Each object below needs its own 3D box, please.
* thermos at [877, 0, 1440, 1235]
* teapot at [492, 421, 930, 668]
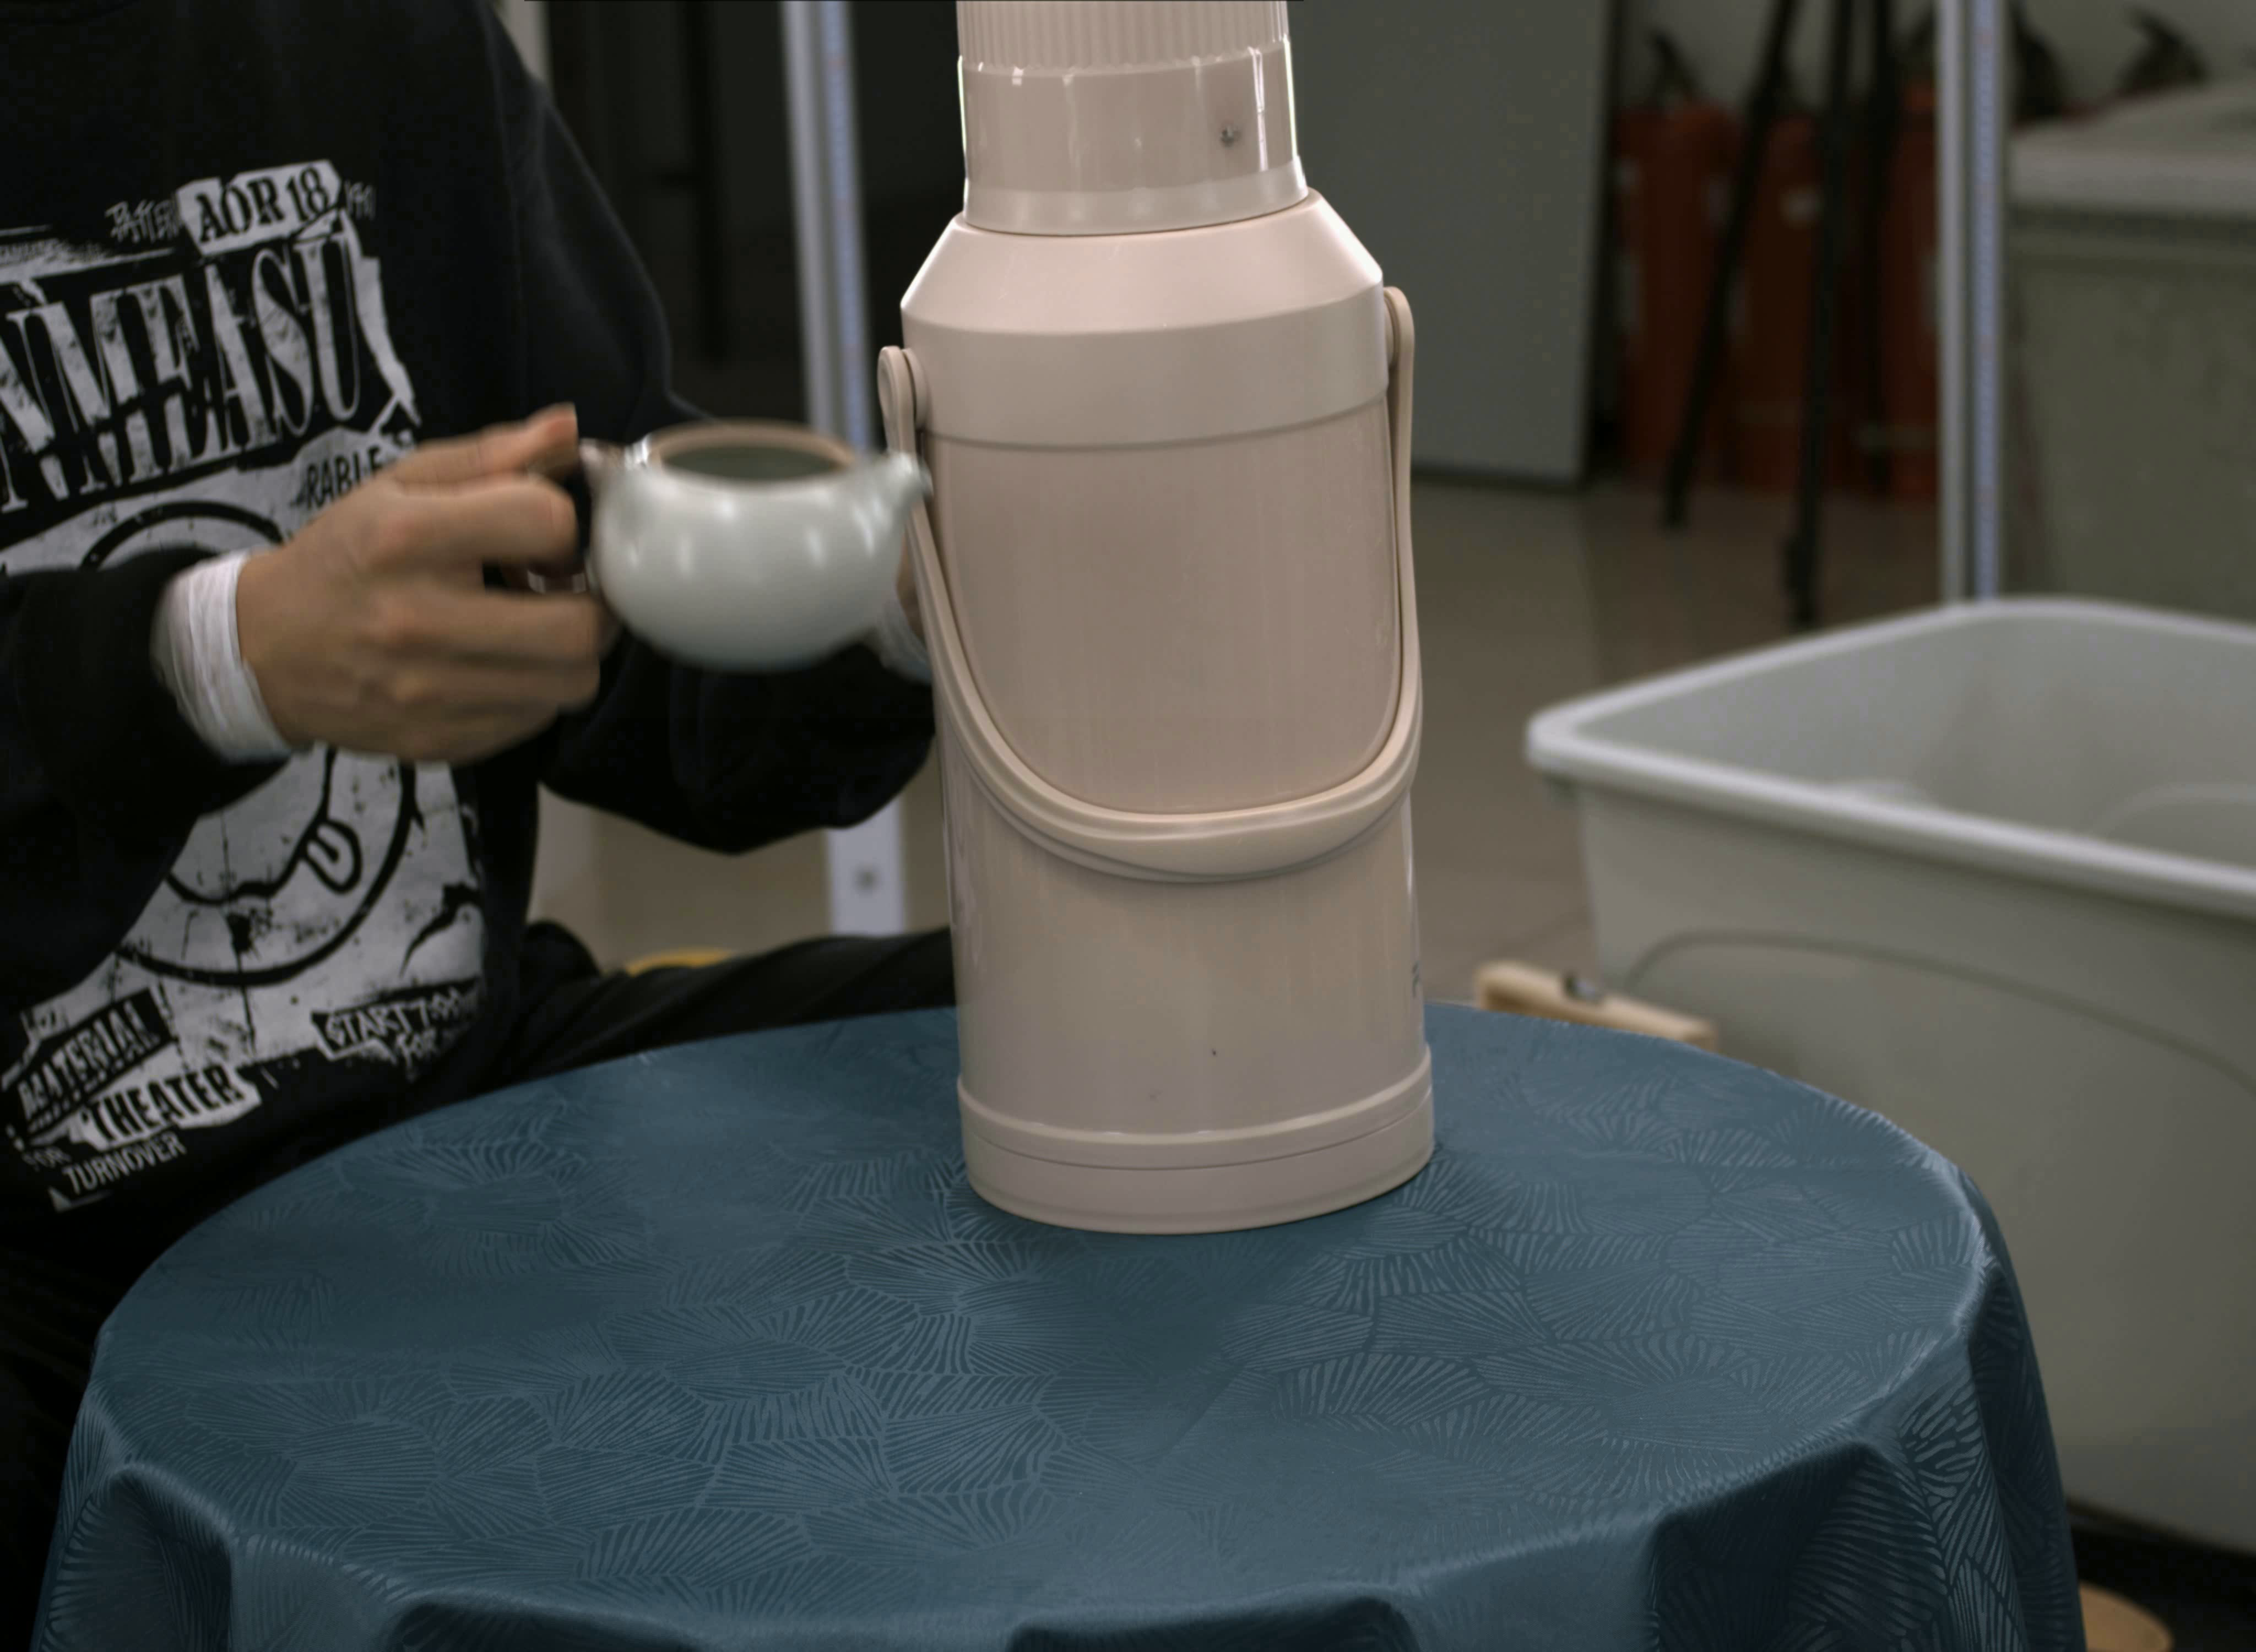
[{"bbox_3d":[0.008,-0.085,1.770,0.172,0.410,0.209,-10,15,-15],"label":"thermos"},{"bbox_3d":[-0.122,-0.083,1.577,0.126,0.060,0.092,3,22,-1],"label":"teapot"}]
